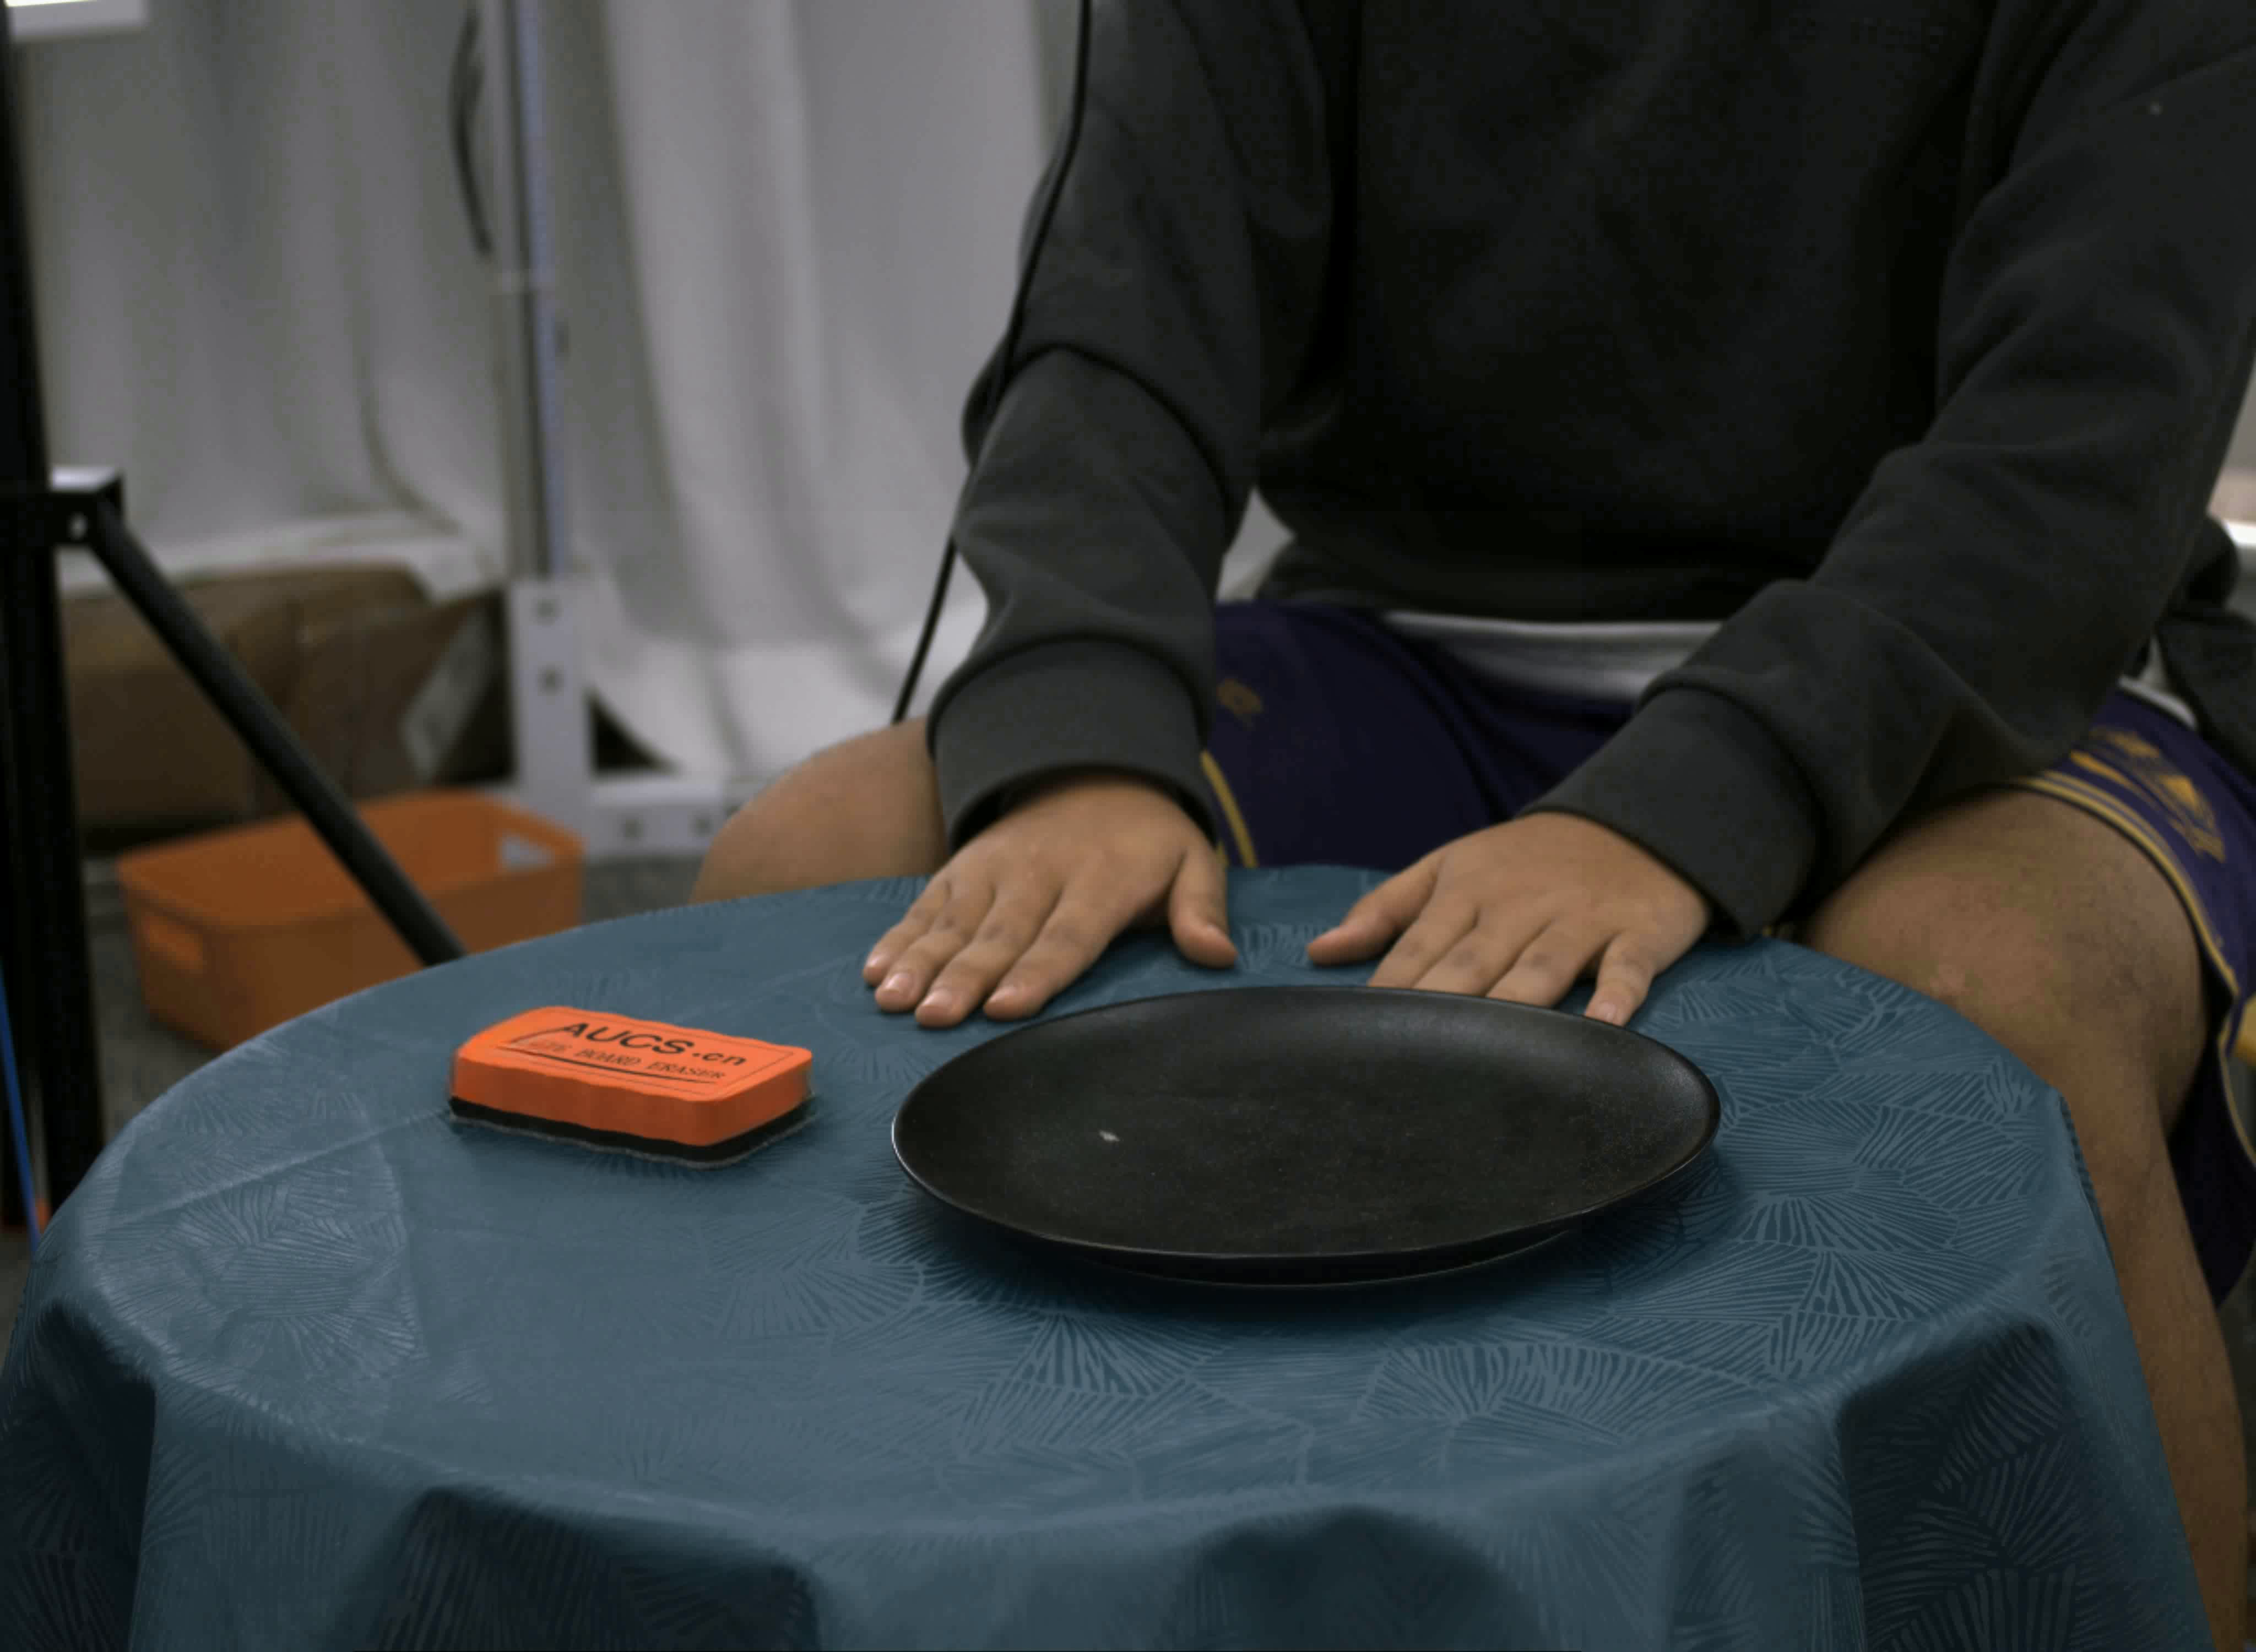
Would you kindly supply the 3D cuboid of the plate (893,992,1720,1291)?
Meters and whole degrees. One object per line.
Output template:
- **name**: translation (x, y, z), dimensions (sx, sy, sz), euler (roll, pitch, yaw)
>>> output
- **plate**: translation (0.053, 0.094, 1.559), dimensions (0.243, 0.023, 0.245), euler (-3, 15, -1)

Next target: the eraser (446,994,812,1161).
- **eraser**: translation (-0.153, 0.077, 1.642), dimensions (0.110, 0.023, 0.058), euler (10, 20, 32)
